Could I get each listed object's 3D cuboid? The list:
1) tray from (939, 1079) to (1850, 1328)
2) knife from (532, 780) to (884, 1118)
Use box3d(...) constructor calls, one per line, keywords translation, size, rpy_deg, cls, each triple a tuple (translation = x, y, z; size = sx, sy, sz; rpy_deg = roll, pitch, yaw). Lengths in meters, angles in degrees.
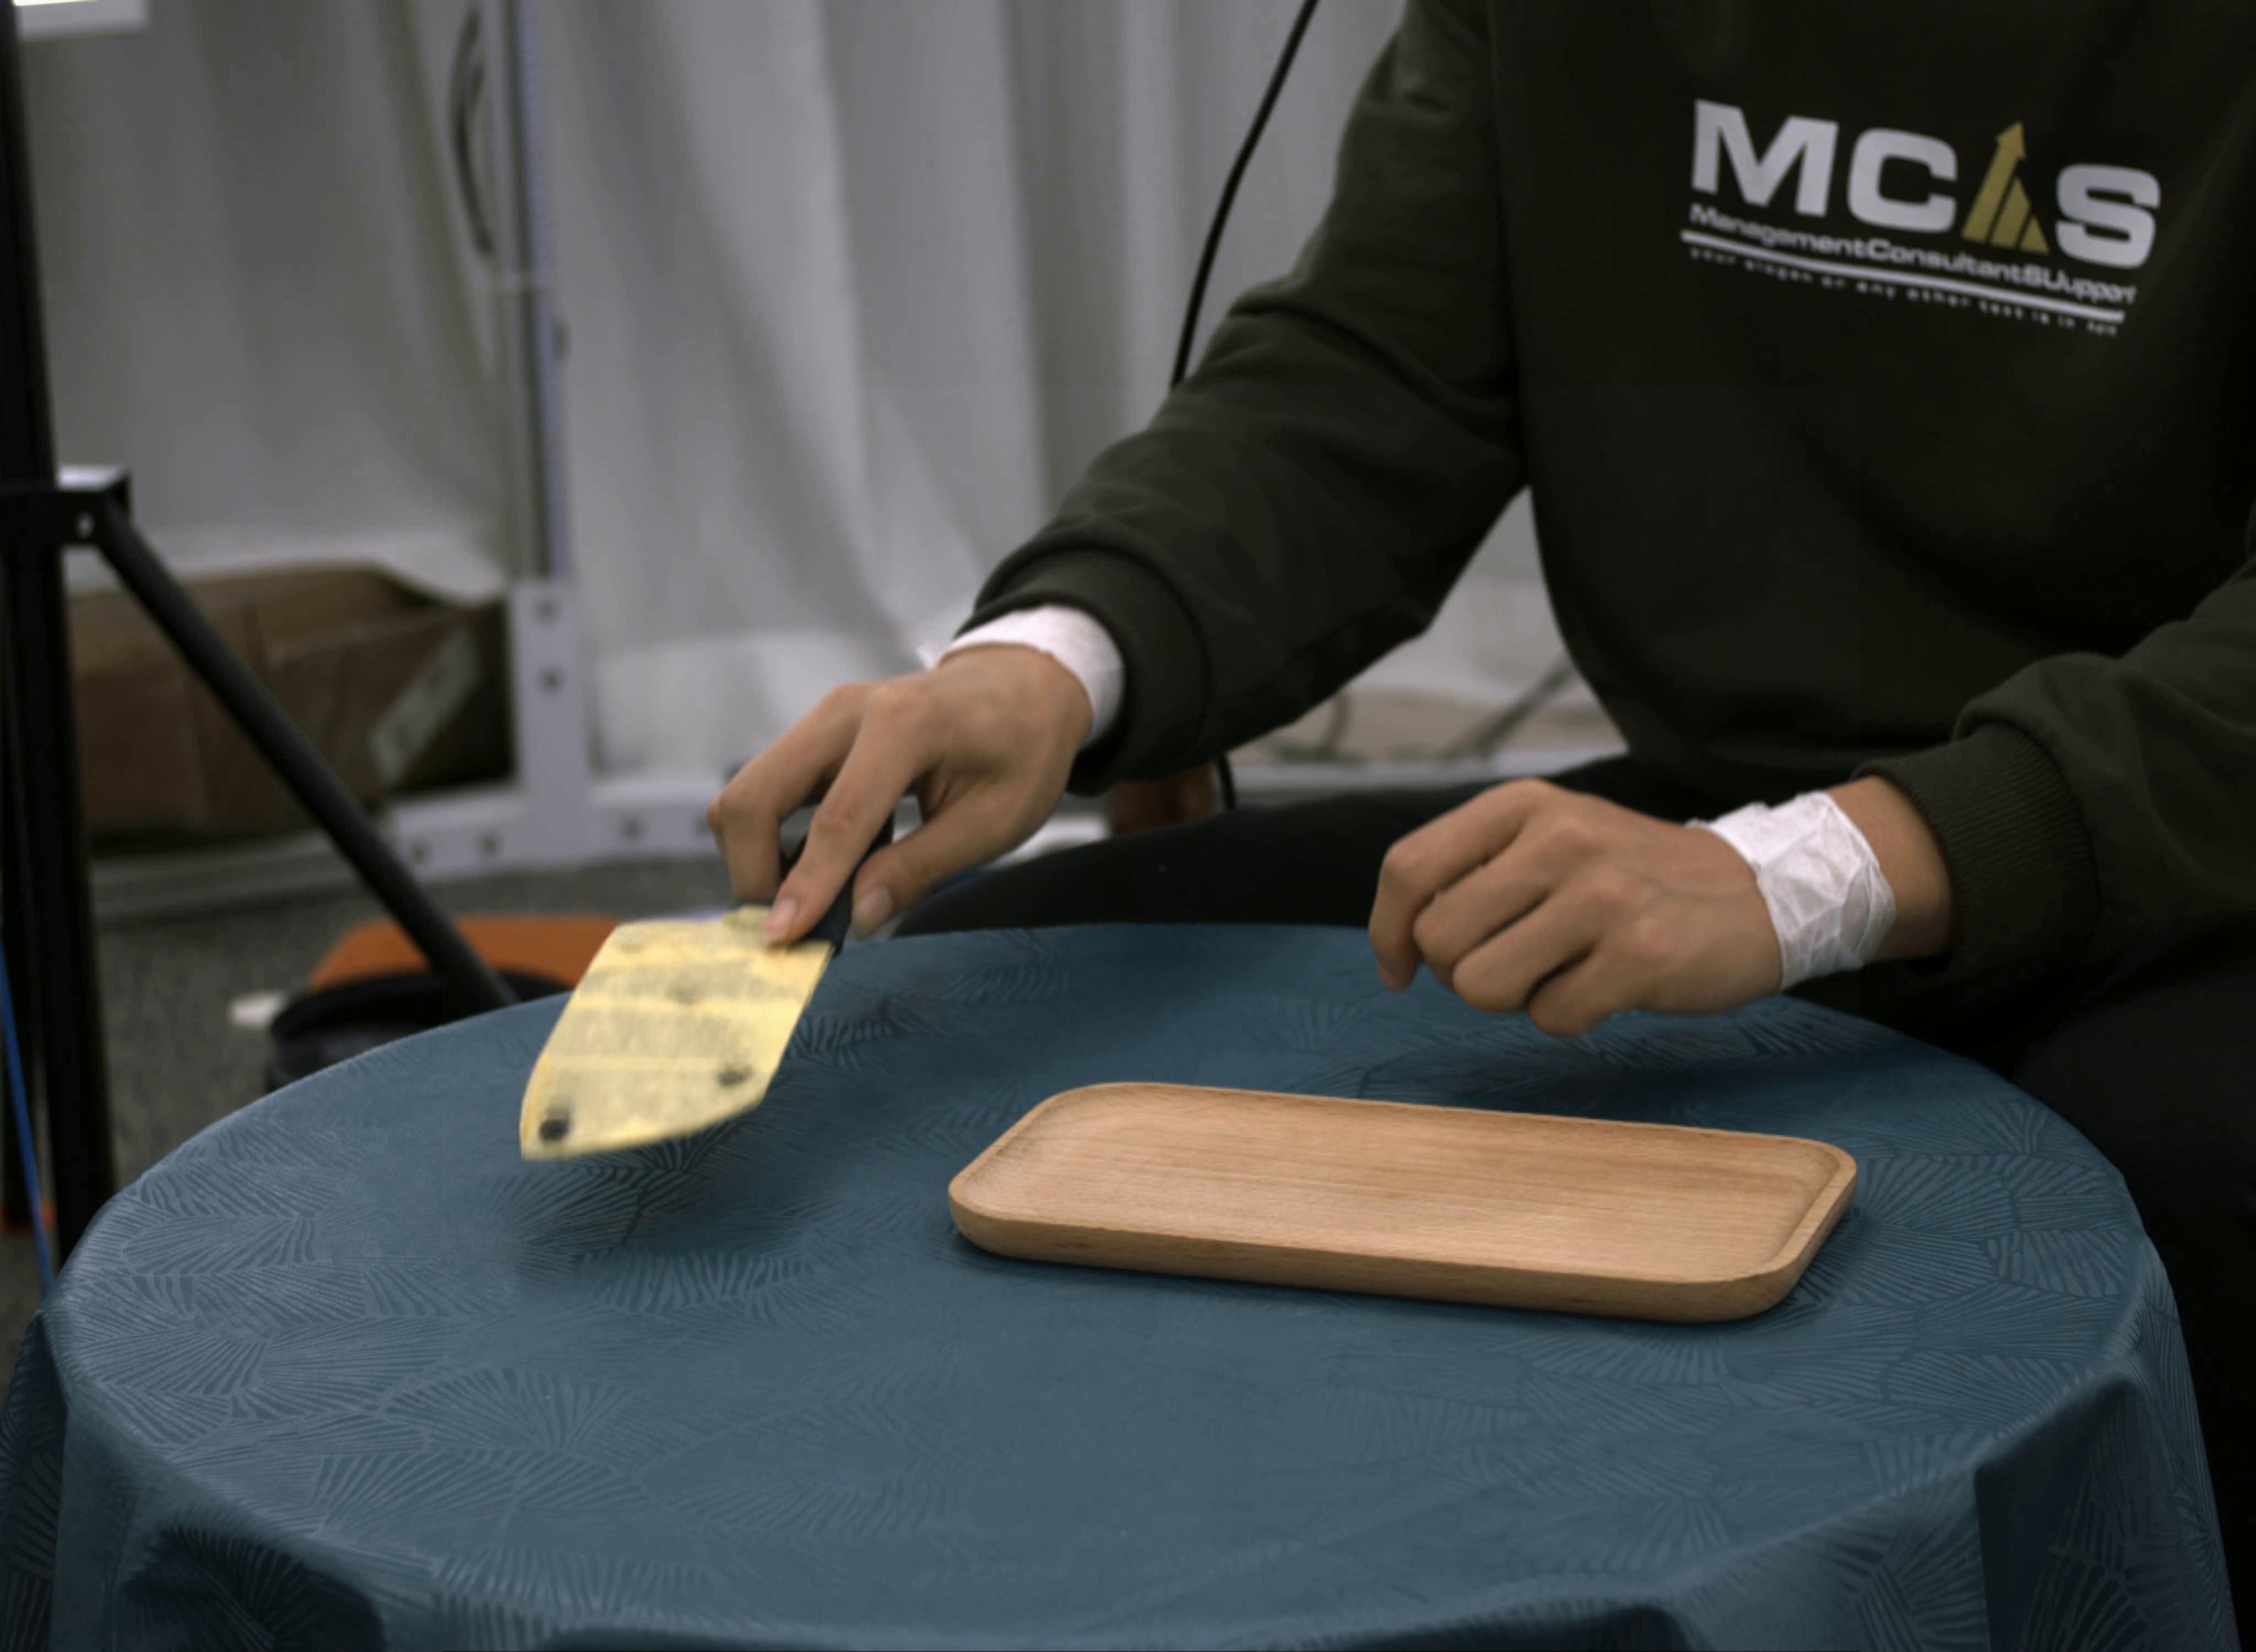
box3d(translation=(0.076, 0.107, 1.521), size=(0.254, 0.023, 0.129), rpy_deg=(4, 14, 22), cls="tray")
box3d(translation=(-0.125, 0.038, 1.647), size=(0.081, 0.027, 0.288), rpy_deg=(5, 19, 10), cls="knife")
